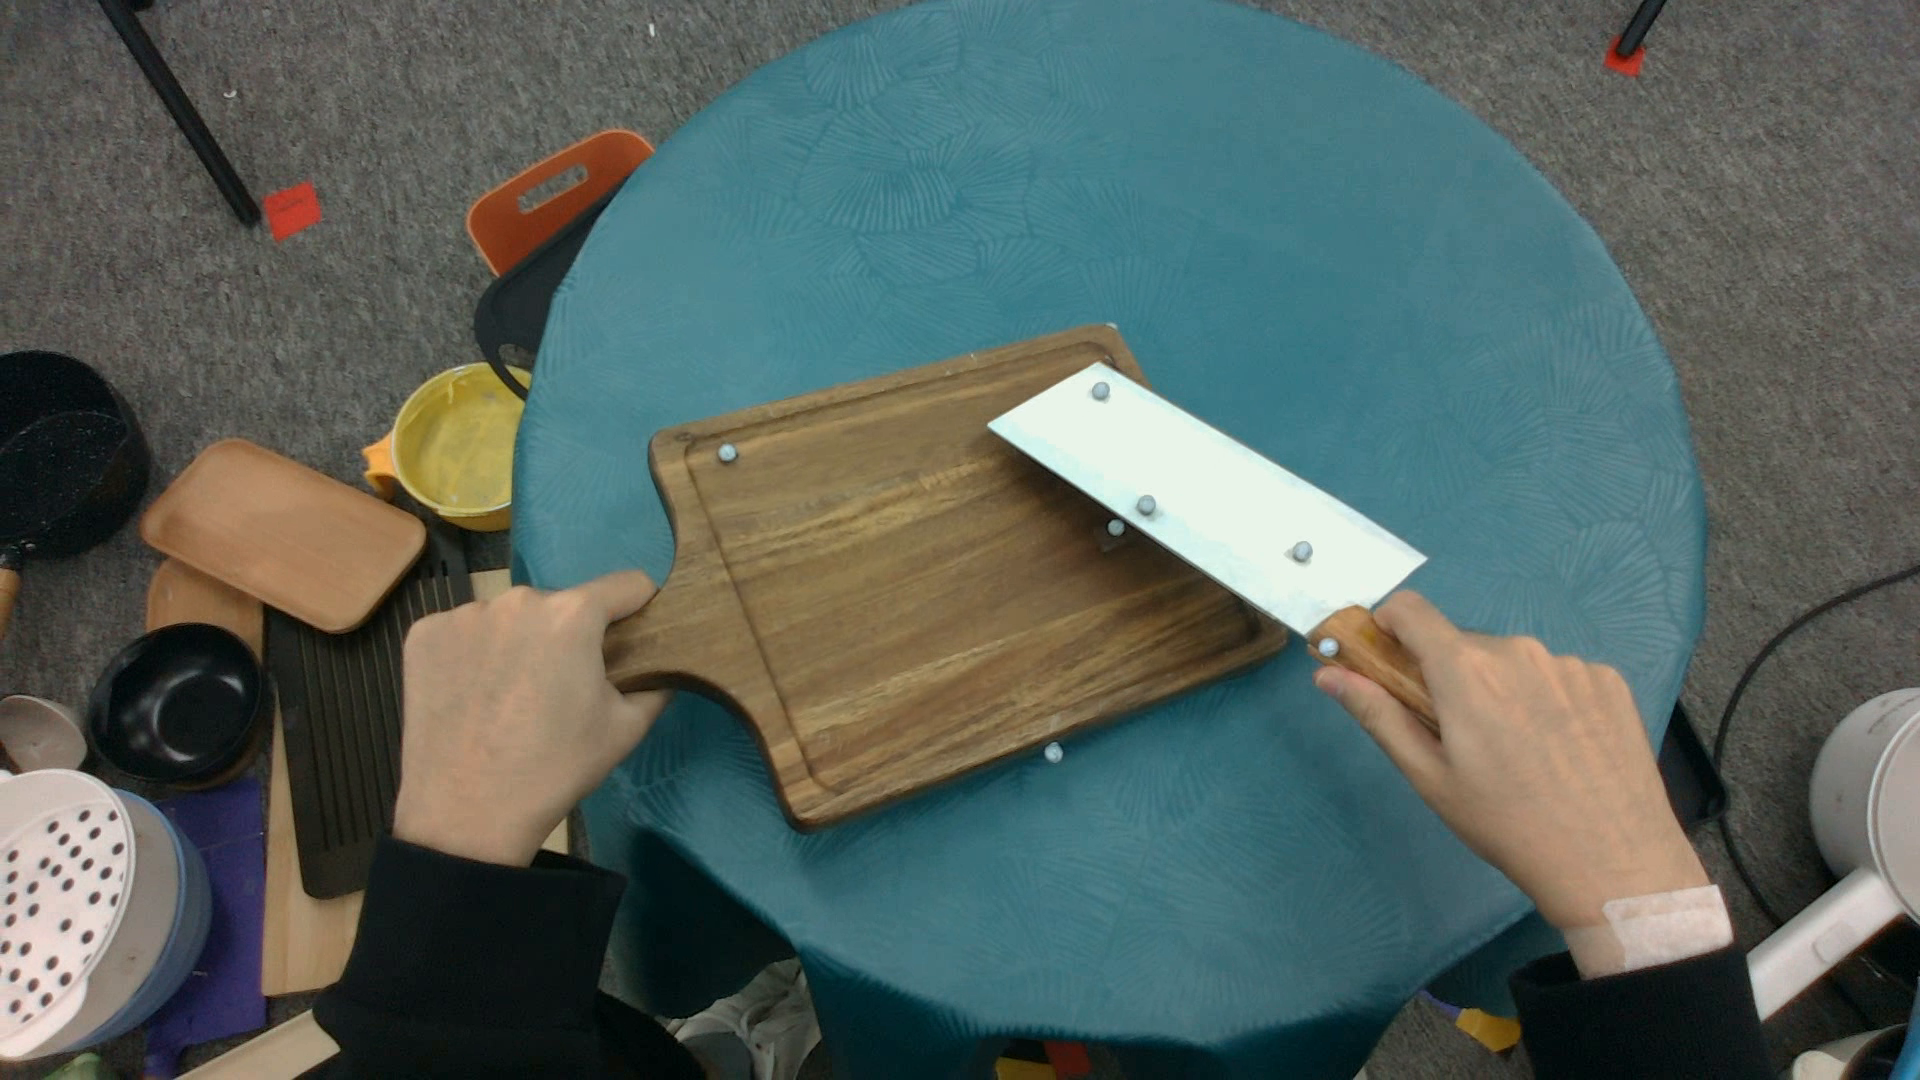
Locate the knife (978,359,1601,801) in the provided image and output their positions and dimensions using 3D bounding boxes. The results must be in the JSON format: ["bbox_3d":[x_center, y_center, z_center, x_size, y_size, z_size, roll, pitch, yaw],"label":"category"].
[{"bbox_3d":[0.145,0.000,0.606,0.306,0.021,0.093,35,47,25],"label":"knife"}]

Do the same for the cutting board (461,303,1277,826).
[{"bbox_3d":[-0.044,0.011,0.617,0.353,0.023,0.201,-18,68,-22],"label":"cutting board"}]
